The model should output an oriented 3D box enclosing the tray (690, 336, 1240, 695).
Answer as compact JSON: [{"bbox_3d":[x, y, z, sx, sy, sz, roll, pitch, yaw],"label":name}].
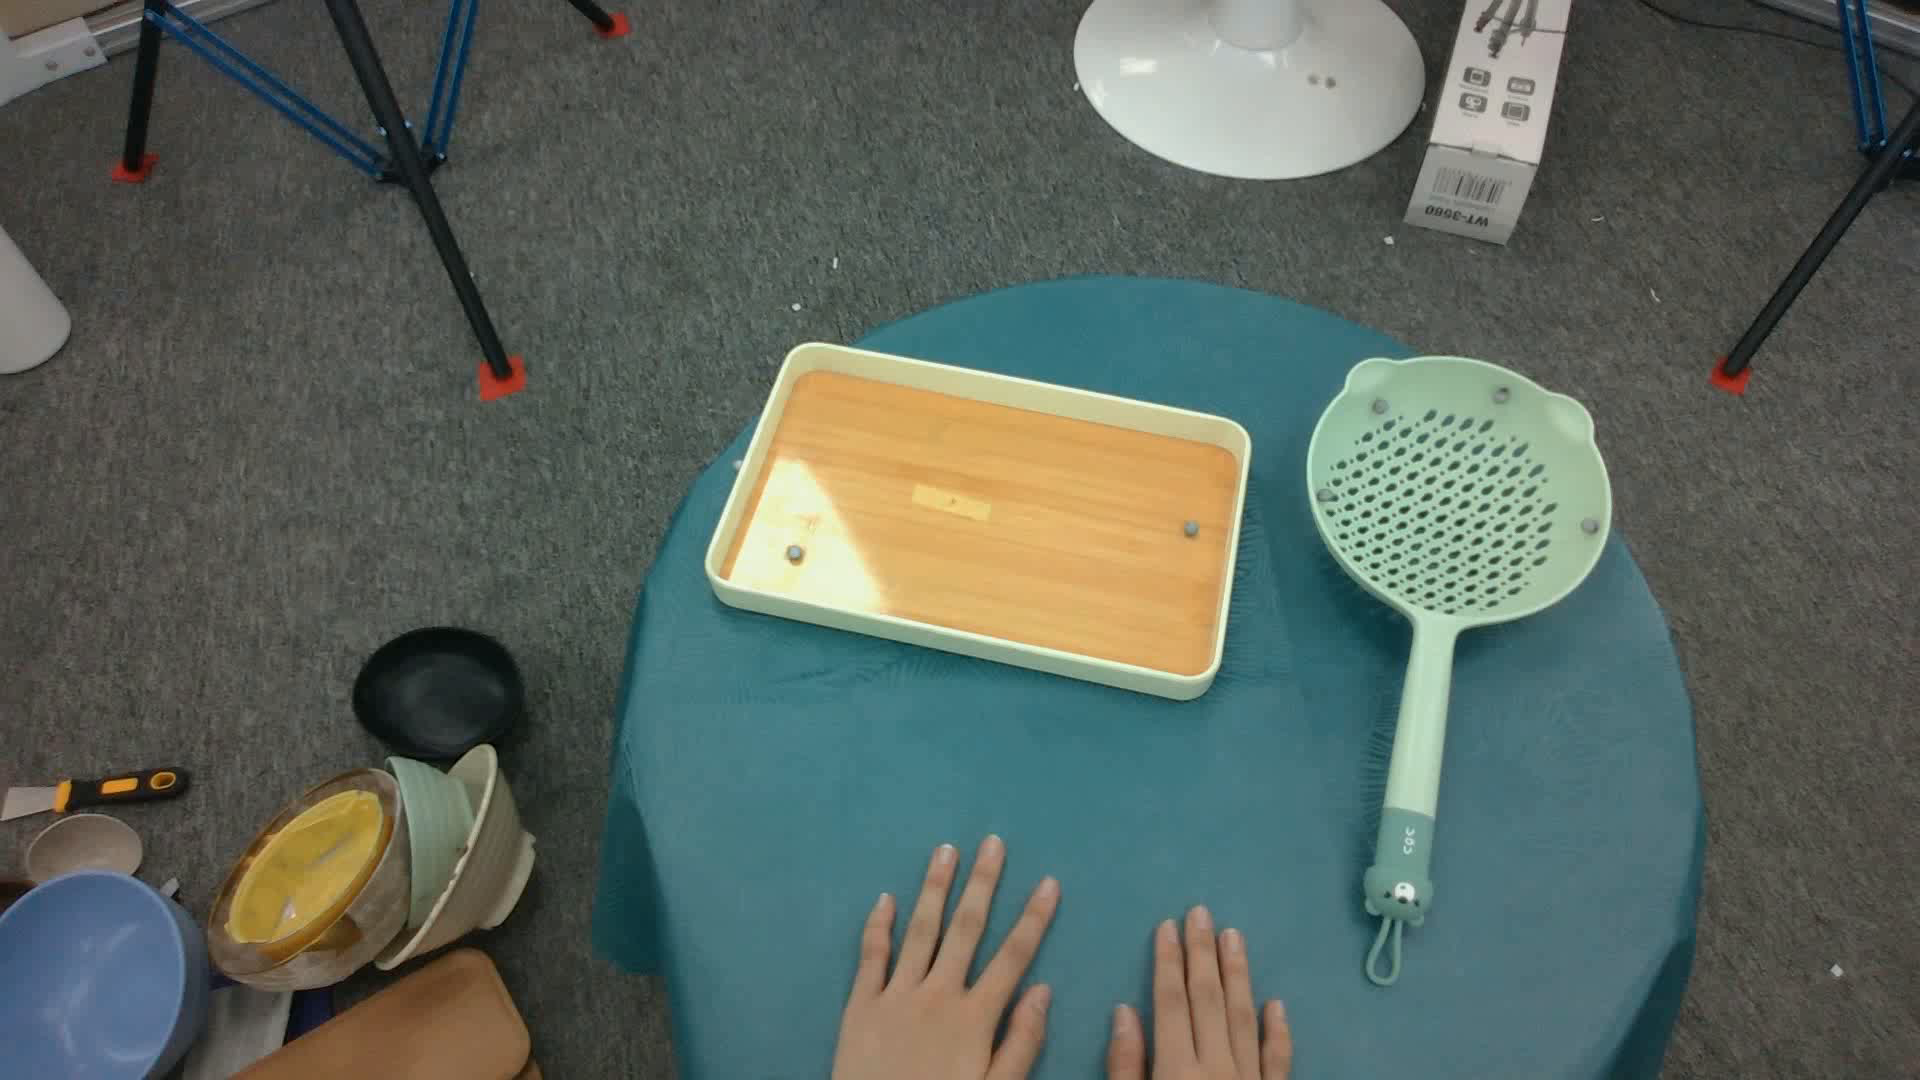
[{"bbox_3d":[0.008,-0.021,0.825,0.300,0.027,0.192,11,57,6],"label":"tray"}]

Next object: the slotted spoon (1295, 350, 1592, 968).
[{"bbox_3d":[0.251,0.052,0.760,0.169,0.075,0.360,14,57,8],"label":"slotted spoon"}]
